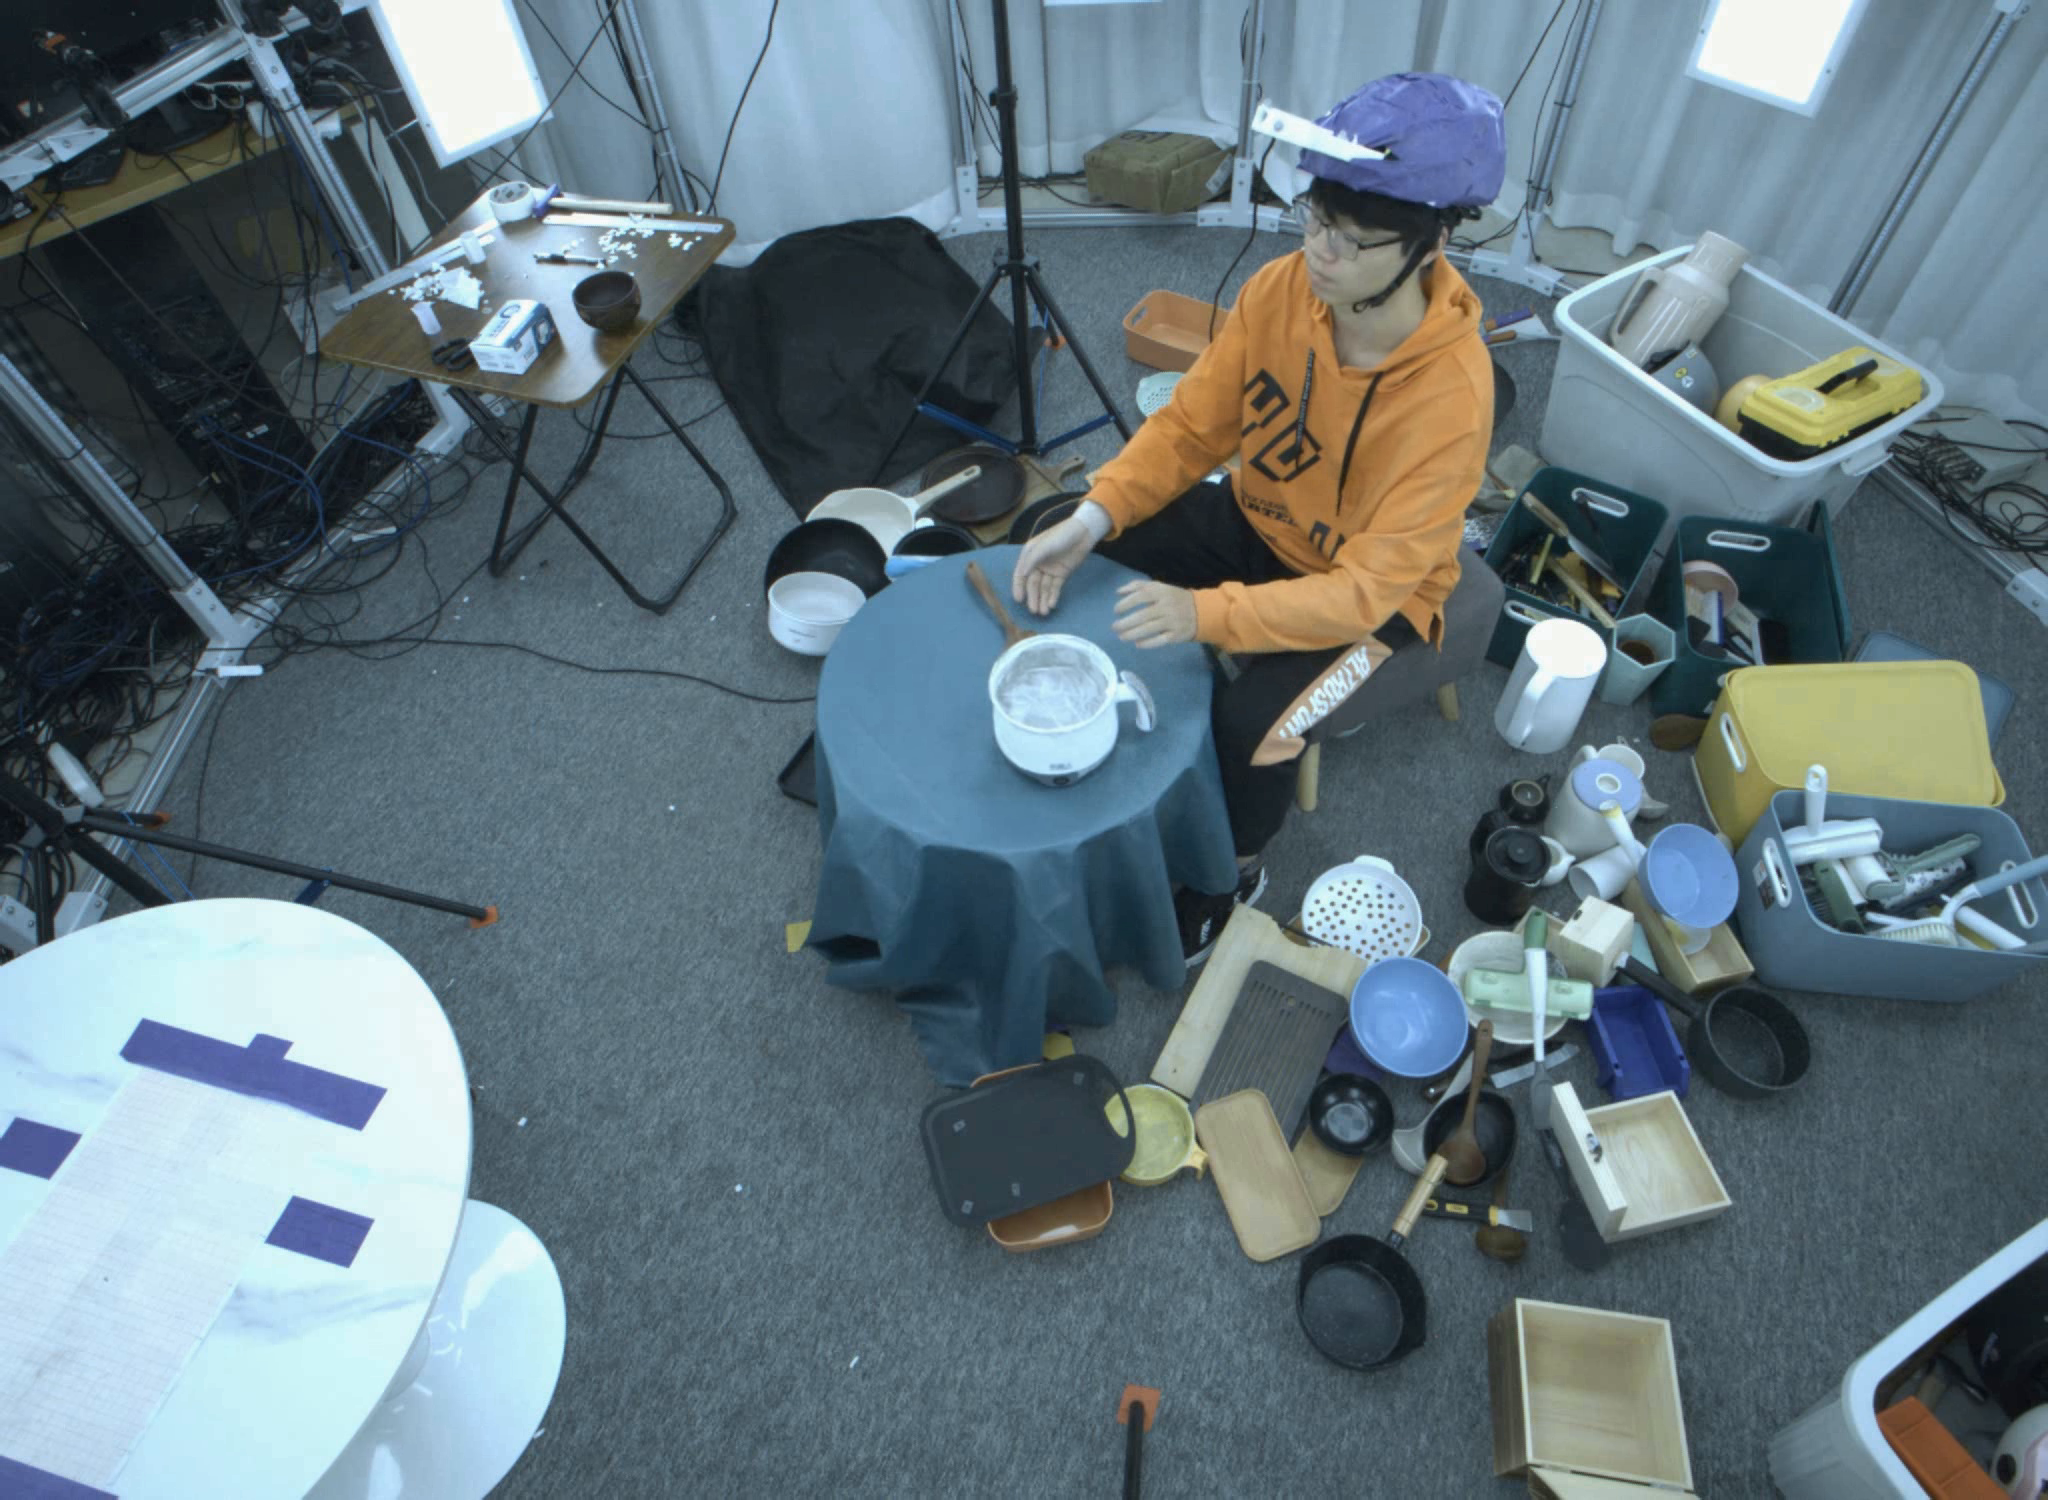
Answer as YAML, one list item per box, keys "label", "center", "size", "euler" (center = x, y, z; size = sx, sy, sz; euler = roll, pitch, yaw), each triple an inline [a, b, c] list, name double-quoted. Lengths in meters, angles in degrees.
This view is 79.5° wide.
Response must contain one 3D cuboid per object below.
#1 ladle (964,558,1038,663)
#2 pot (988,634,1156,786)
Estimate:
- label: "ladle"
  center: [-0.050, -0.224, 1.910]
  size: [0.076, 0.066, 0.255]
  euler: [-35, 58, 10]
- label: "pot"
  center: [0.070, -0.059, 1.741]
  size: [0.234, 0.138, 0.176]
  euler: [-6, 55, -1]
